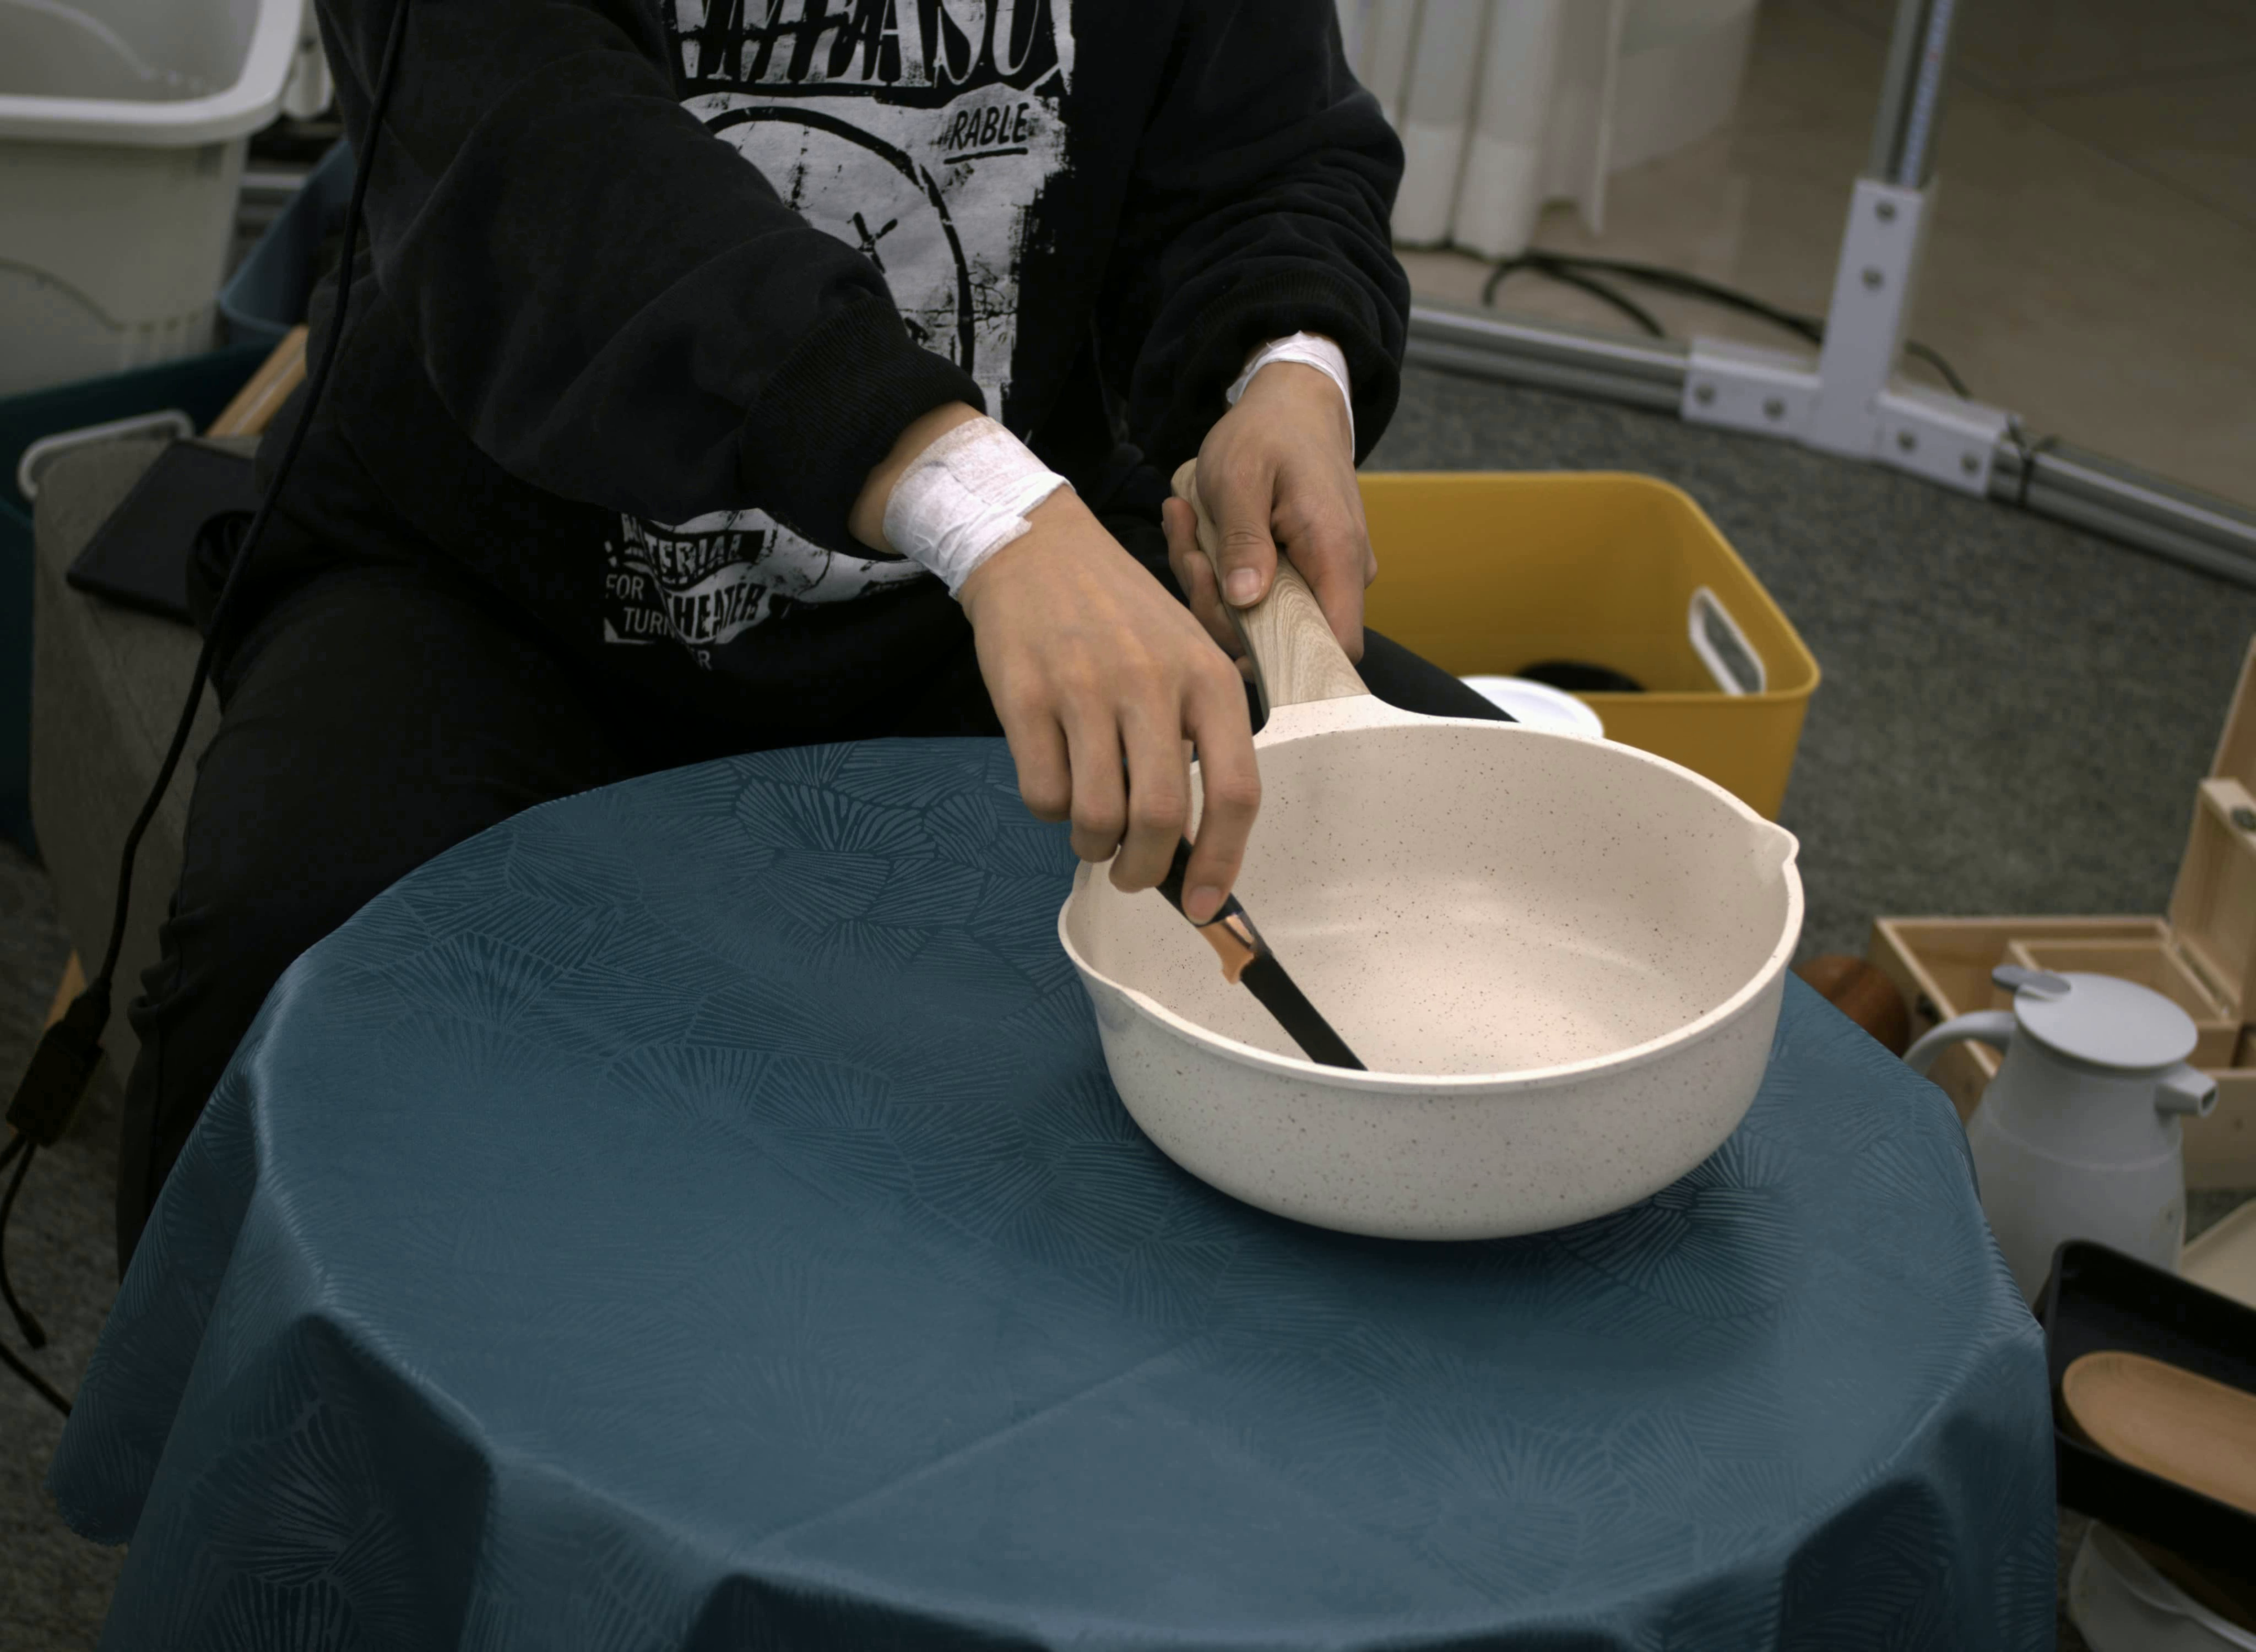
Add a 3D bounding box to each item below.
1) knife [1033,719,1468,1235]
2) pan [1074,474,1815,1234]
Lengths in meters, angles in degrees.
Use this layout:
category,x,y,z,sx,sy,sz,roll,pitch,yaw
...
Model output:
category,x,y,z,sx,sy,sz,roll,pitch,yaw
knife,0.043,0.051,1.809,0.226,0.026,0.017,49,46,11
pan,0.087,0.006,1.922,0.262,0.101,0.438,-10,30,-12
